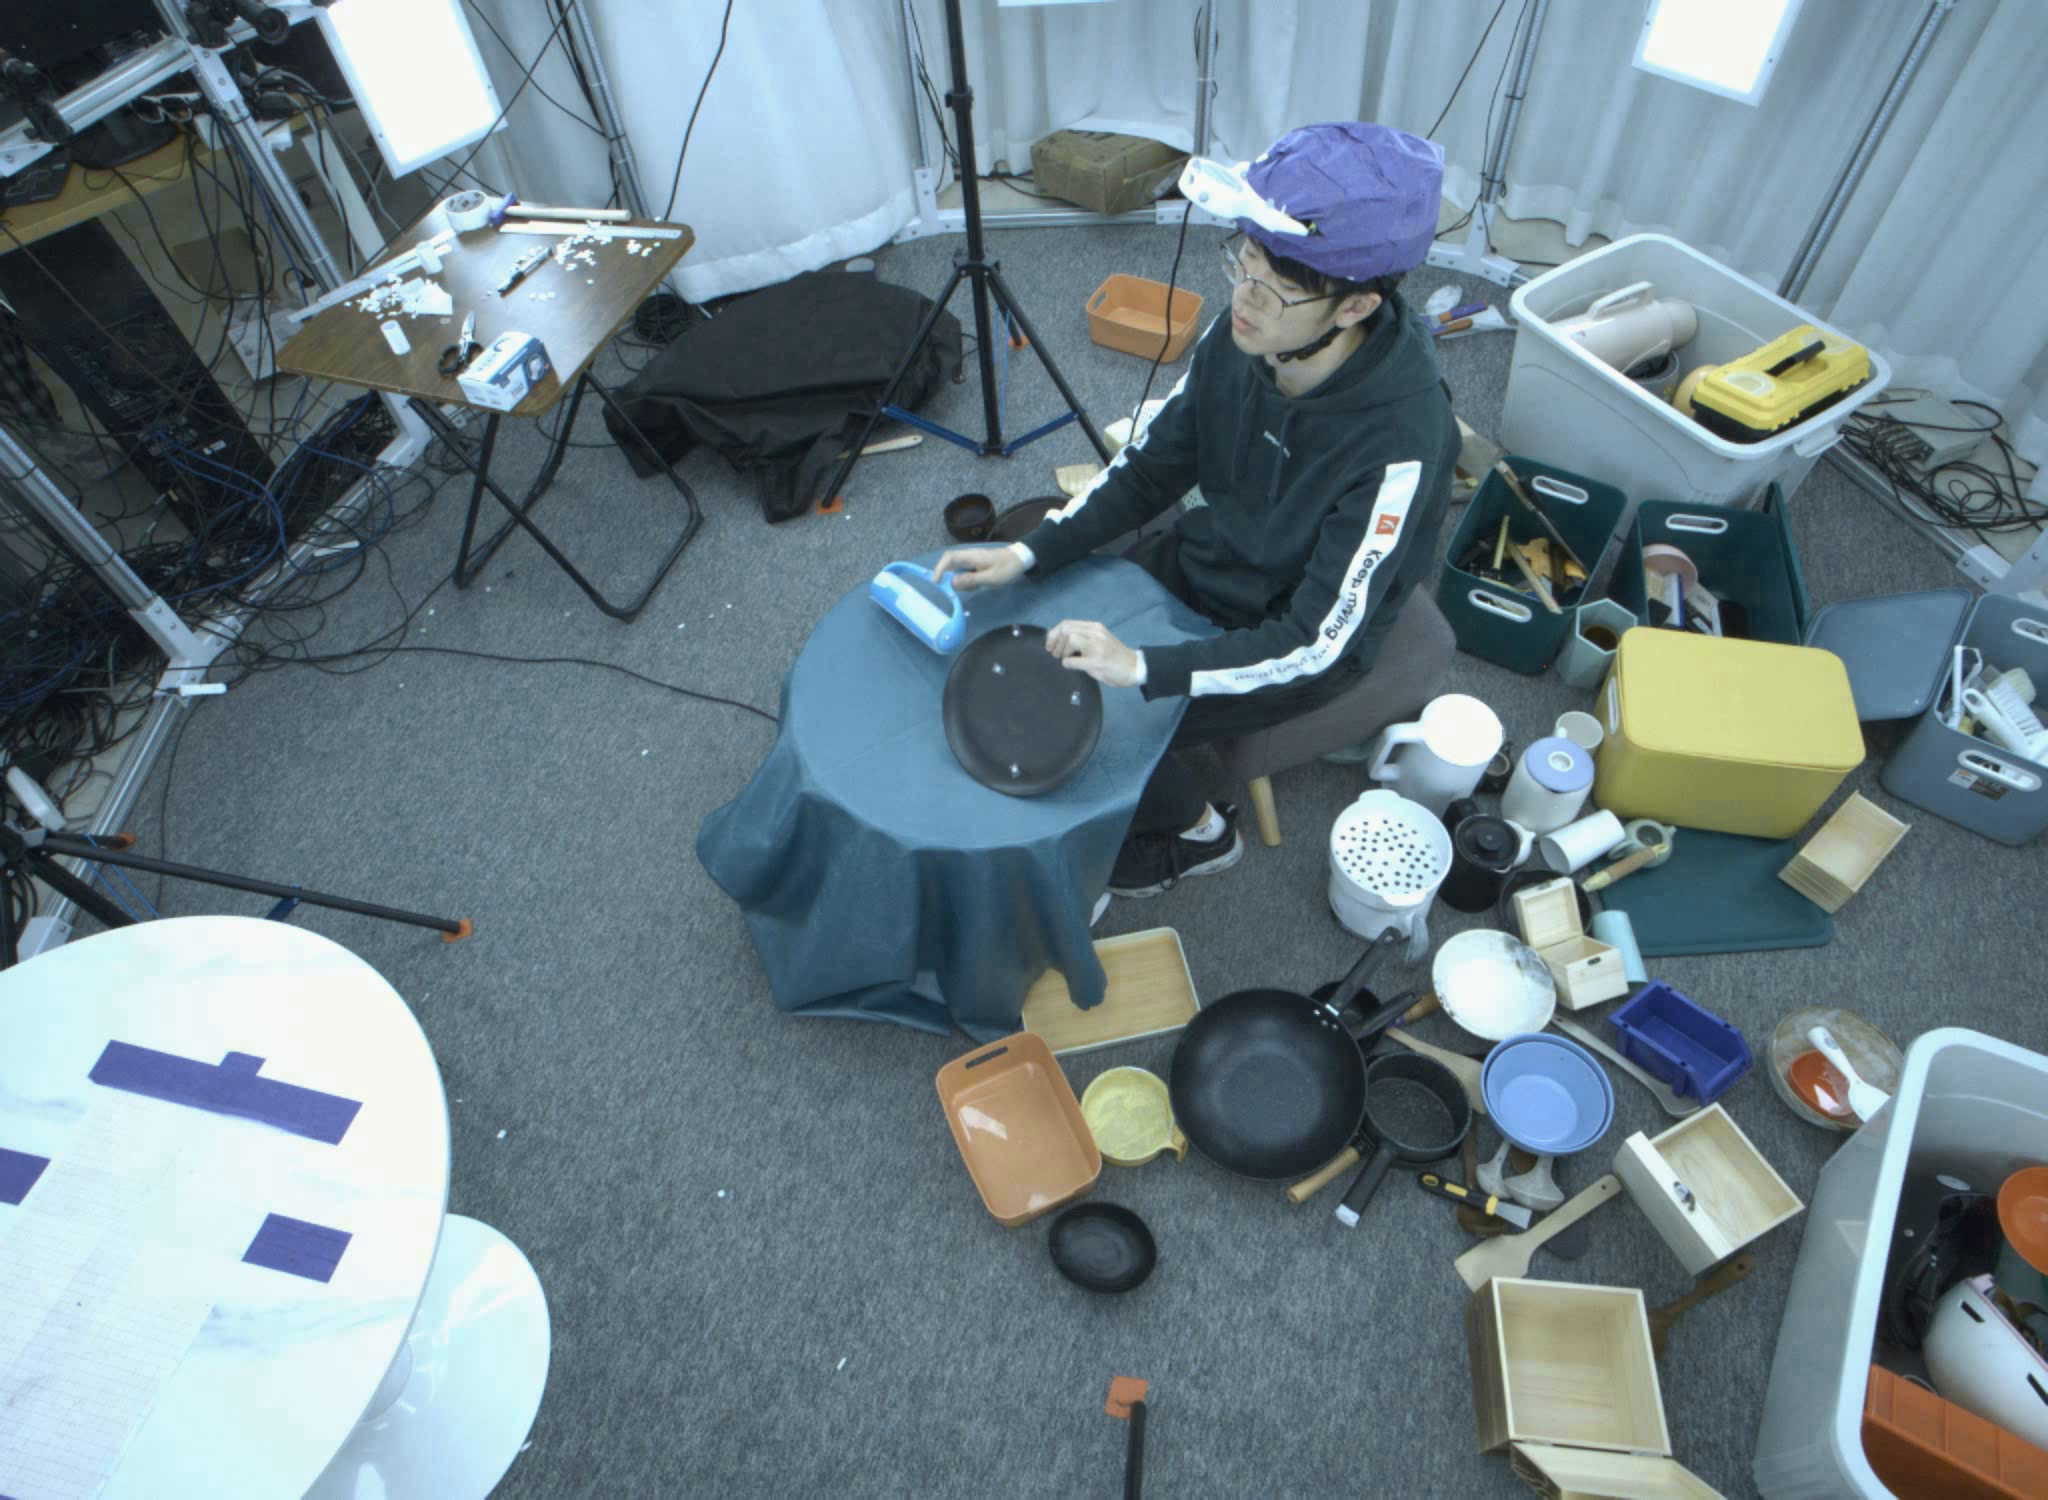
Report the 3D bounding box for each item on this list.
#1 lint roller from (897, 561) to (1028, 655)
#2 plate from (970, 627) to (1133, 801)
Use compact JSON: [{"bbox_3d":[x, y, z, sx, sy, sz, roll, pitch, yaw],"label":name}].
[{"bbox_3d":[-0.076,-0.242,1.887,0.182,0.069,0.223,-32,47,-22],"label":"lint roller"},{"bbox_3d":[0.039,-0.051,1.720,0.241,0.024,0.245,2,97,20],"label":"plate"}]
